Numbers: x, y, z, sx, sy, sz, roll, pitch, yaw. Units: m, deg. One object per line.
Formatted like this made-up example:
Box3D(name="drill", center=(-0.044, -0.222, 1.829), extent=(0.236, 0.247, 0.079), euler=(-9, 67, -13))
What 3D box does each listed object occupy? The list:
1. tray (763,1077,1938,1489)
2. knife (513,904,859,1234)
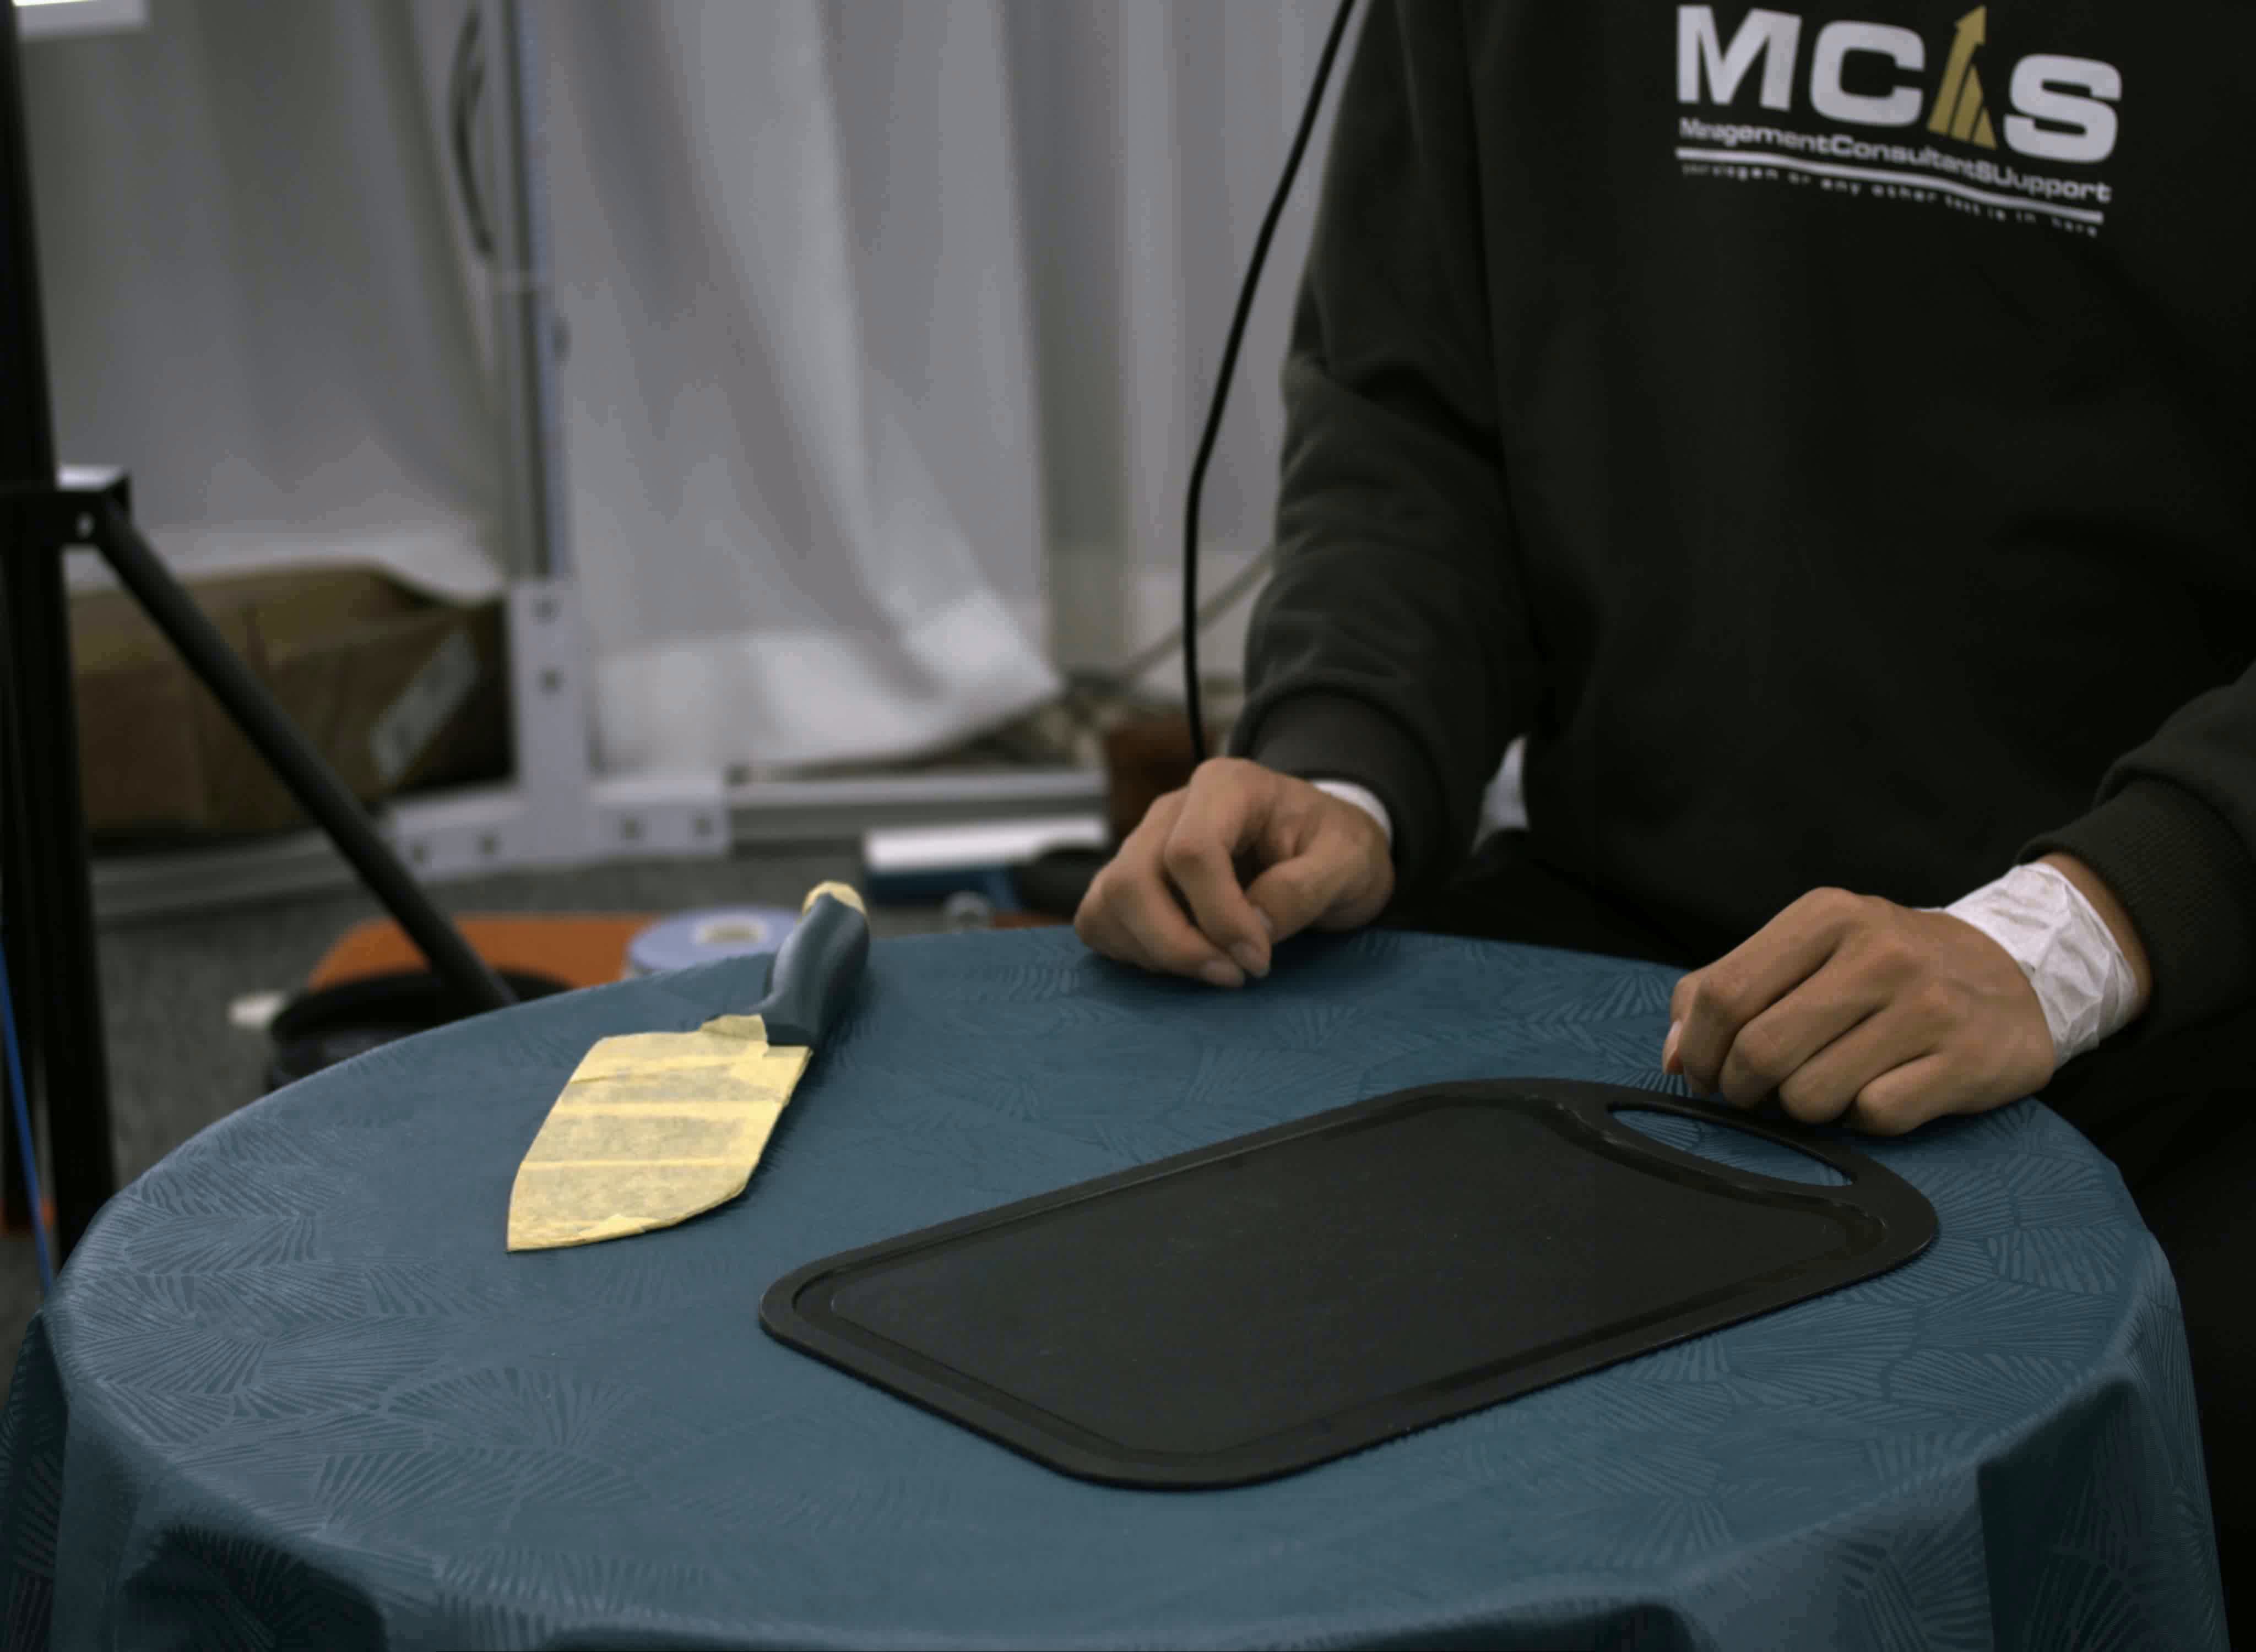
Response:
Box3D(name="tray", center=(0.071, 0.120, 1.495), extent=(0.318, 0.010, 0.216), euler=(-13, 19, -34))
Box3D(name="knife", center=(-0.134, 0.076, 1.670), extent=(0.081, 0.027, 0.288), euler=(2, 17, 10))
